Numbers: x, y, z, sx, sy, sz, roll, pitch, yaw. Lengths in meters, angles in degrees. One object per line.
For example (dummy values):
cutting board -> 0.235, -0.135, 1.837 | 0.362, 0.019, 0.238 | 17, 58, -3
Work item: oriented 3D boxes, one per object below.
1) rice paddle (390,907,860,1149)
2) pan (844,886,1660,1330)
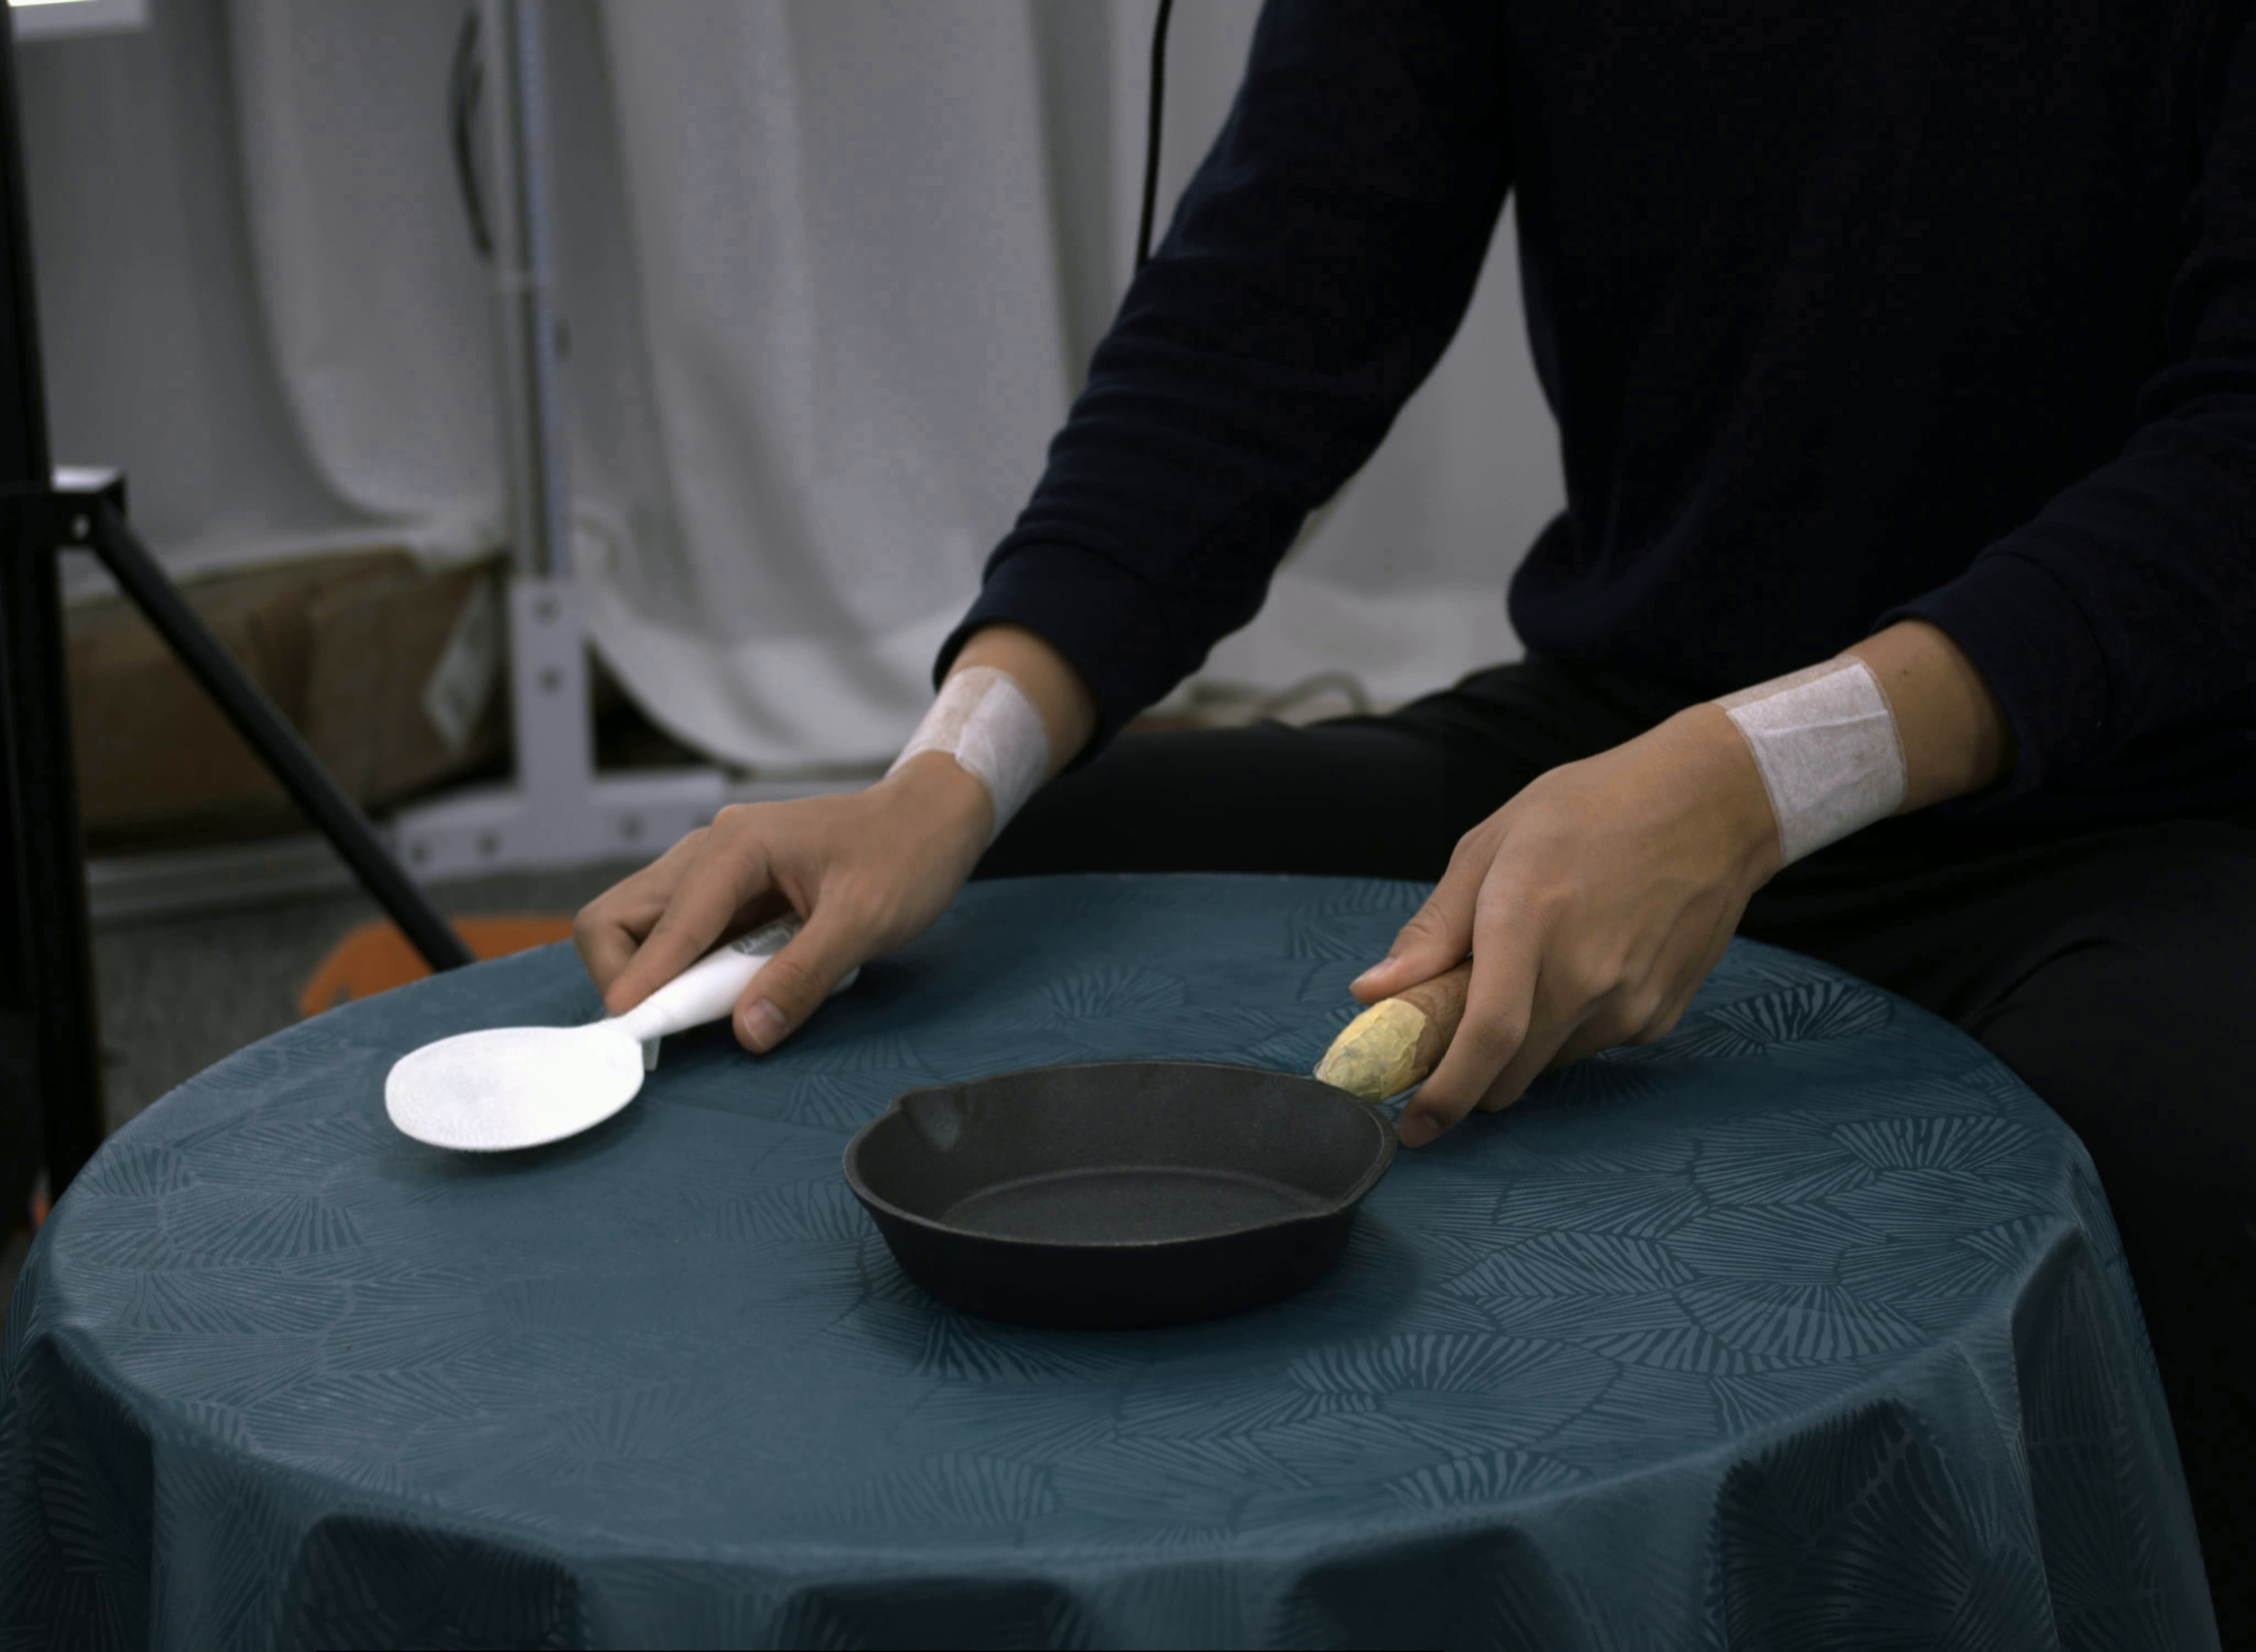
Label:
rice paddle -> -0.155, 0.065, 1.680 | 0.070, 0.029, 0.201 | 19, 24, 30
pan -> 0.056, 0.079, 1.558 | 0.173, 0.049, 0.317 | 12, 23, 44
